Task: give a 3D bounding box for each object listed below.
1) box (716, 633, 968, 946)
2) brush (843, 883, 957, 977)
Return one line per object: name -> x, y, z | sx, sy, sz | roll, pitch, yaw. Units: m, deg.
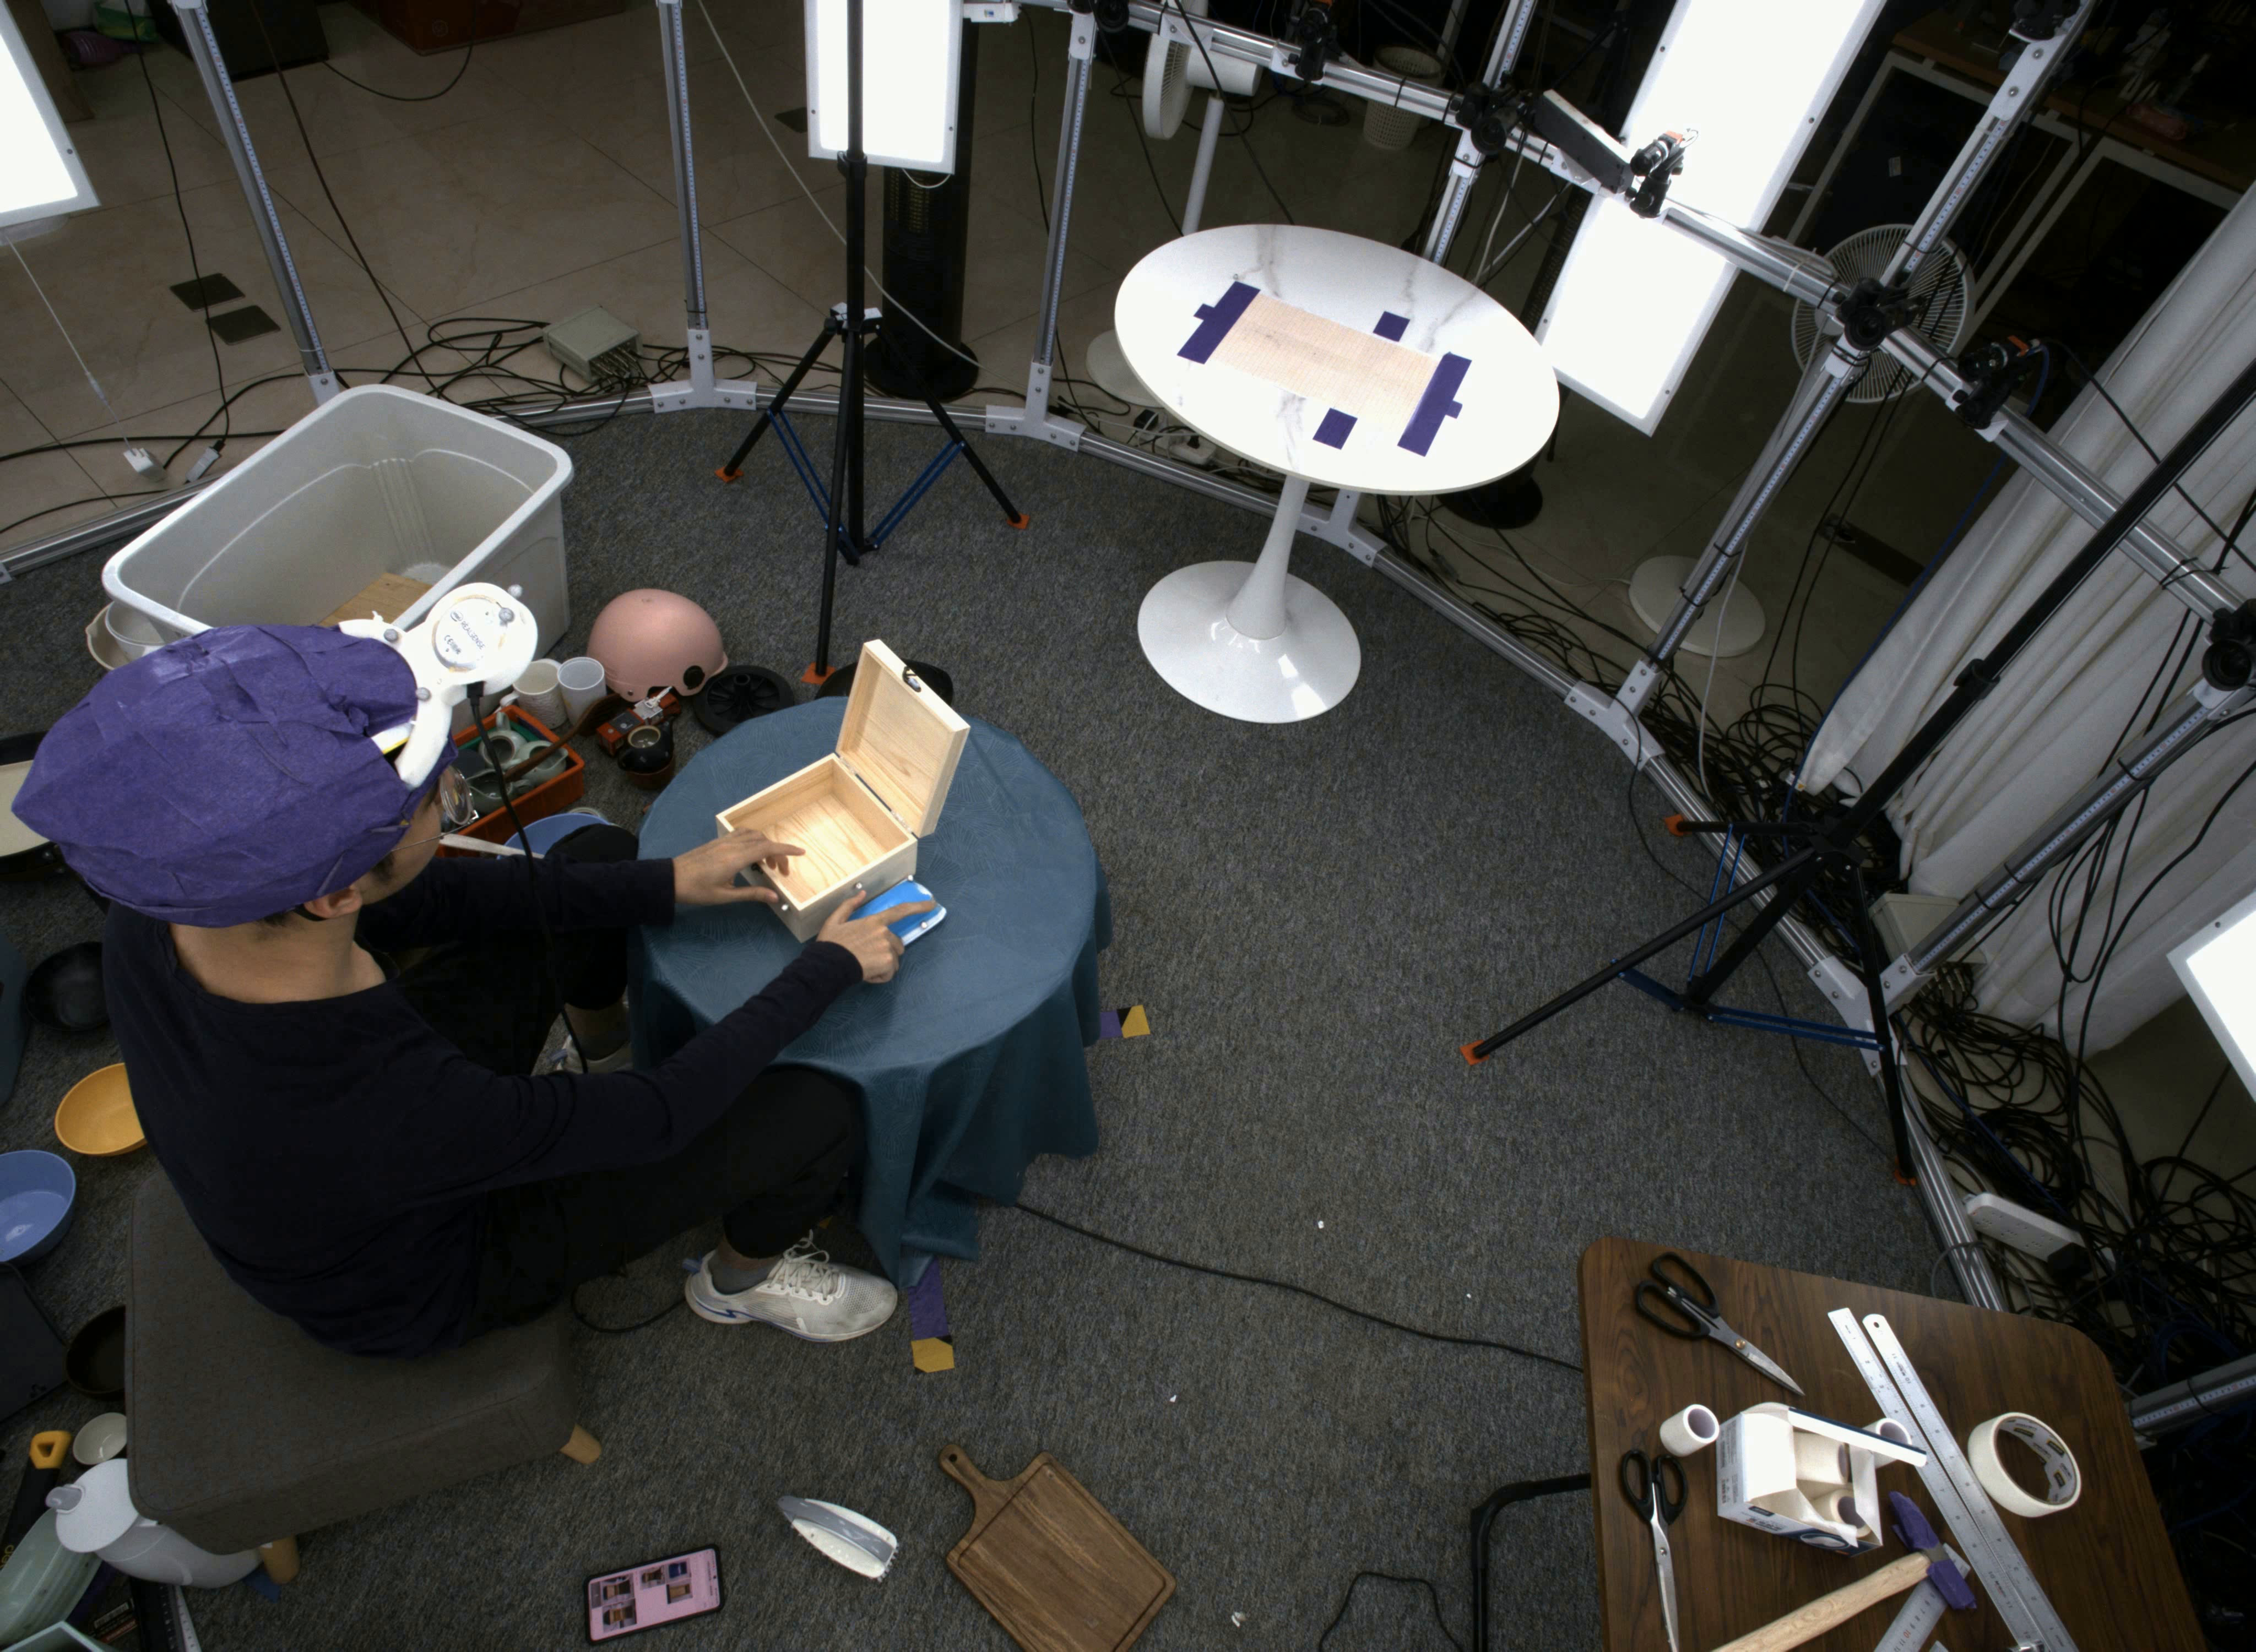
box -> -0.361, -0.046, 1.613 | 0.177, 0.259, 0.266 | 41, 56, 21
brush -> -0.287, 0.121, 1.636 | 0.081, 0.057, 0.144 | 30, 48, 23
